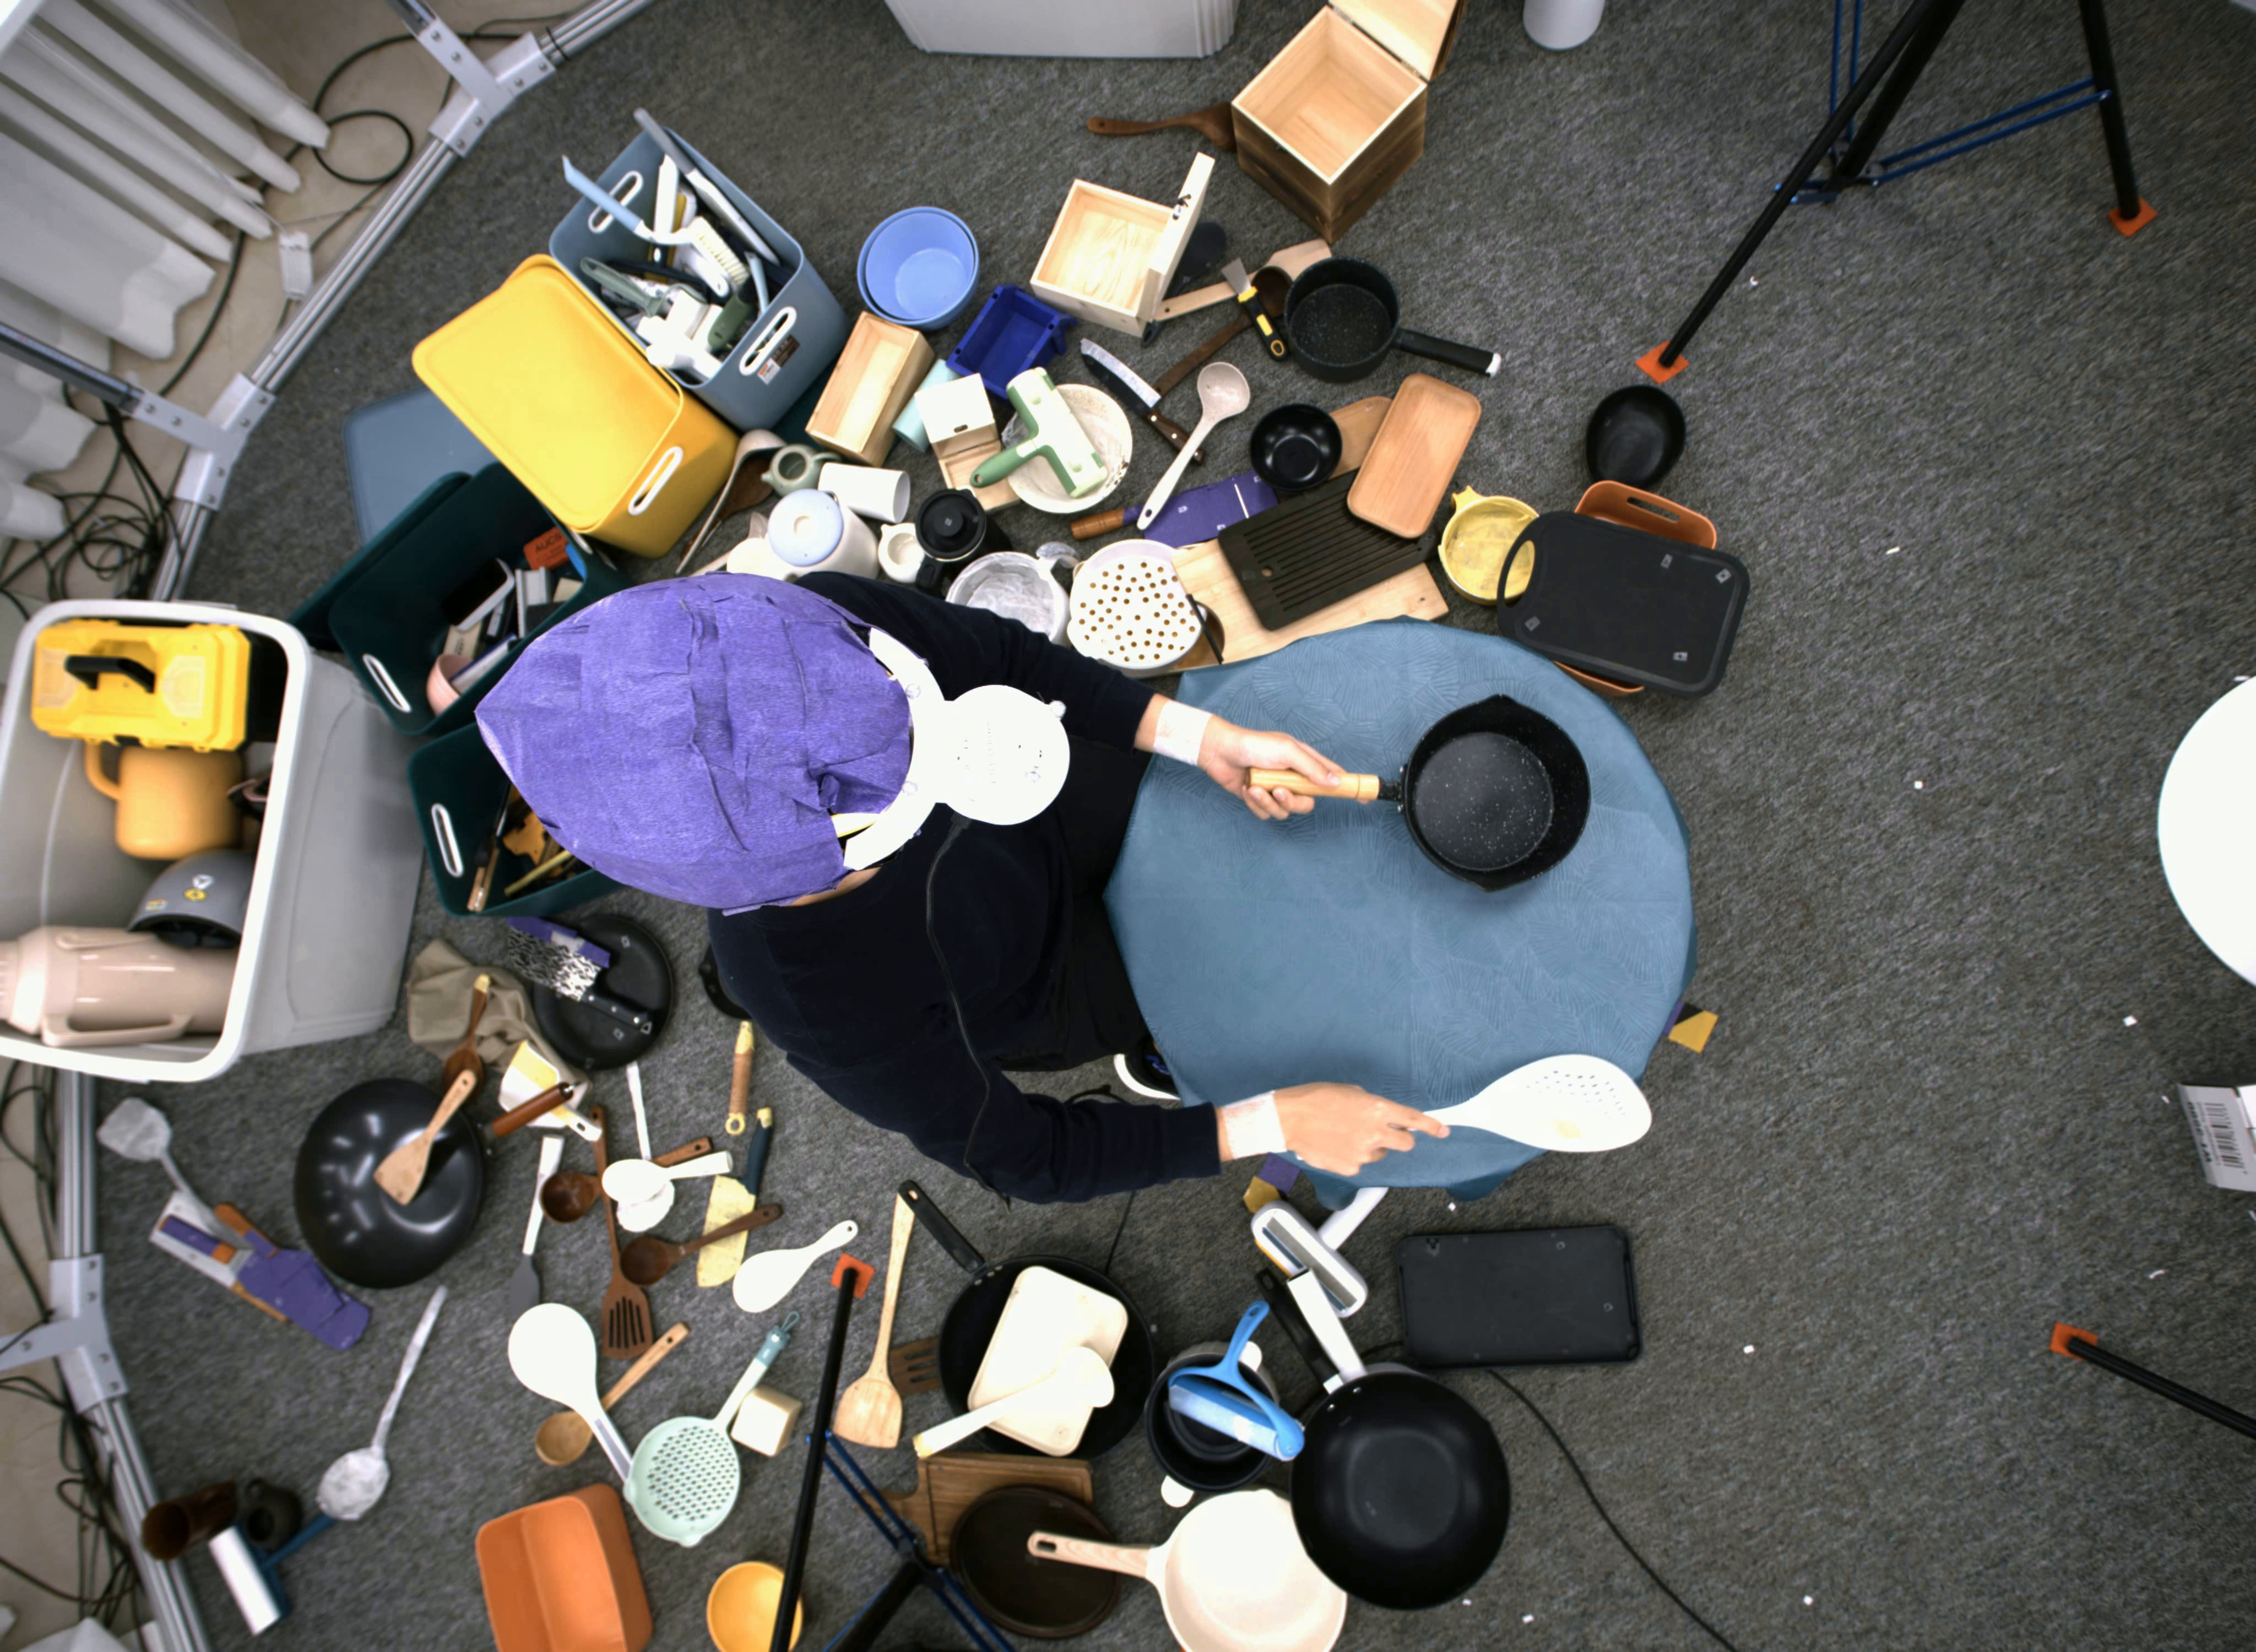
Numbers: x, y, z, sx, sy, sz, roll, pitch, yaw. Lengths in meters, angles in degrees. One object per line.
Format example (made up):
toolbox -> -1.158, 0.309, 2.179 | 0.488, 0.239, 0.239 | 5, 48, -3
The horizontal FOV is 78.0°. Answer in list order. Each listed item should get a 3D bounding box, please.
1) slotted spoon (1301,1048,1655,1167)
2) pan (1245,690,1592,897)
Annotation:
slotted spoon -> 0.338, 0.286, 1.349 | 0.347, 0.134, 0.051 | -4, 122, -7
pan -> 0.289, -0.036, 1.395 | 0.343, 0.108, 0.207 | 2, 88, 4
